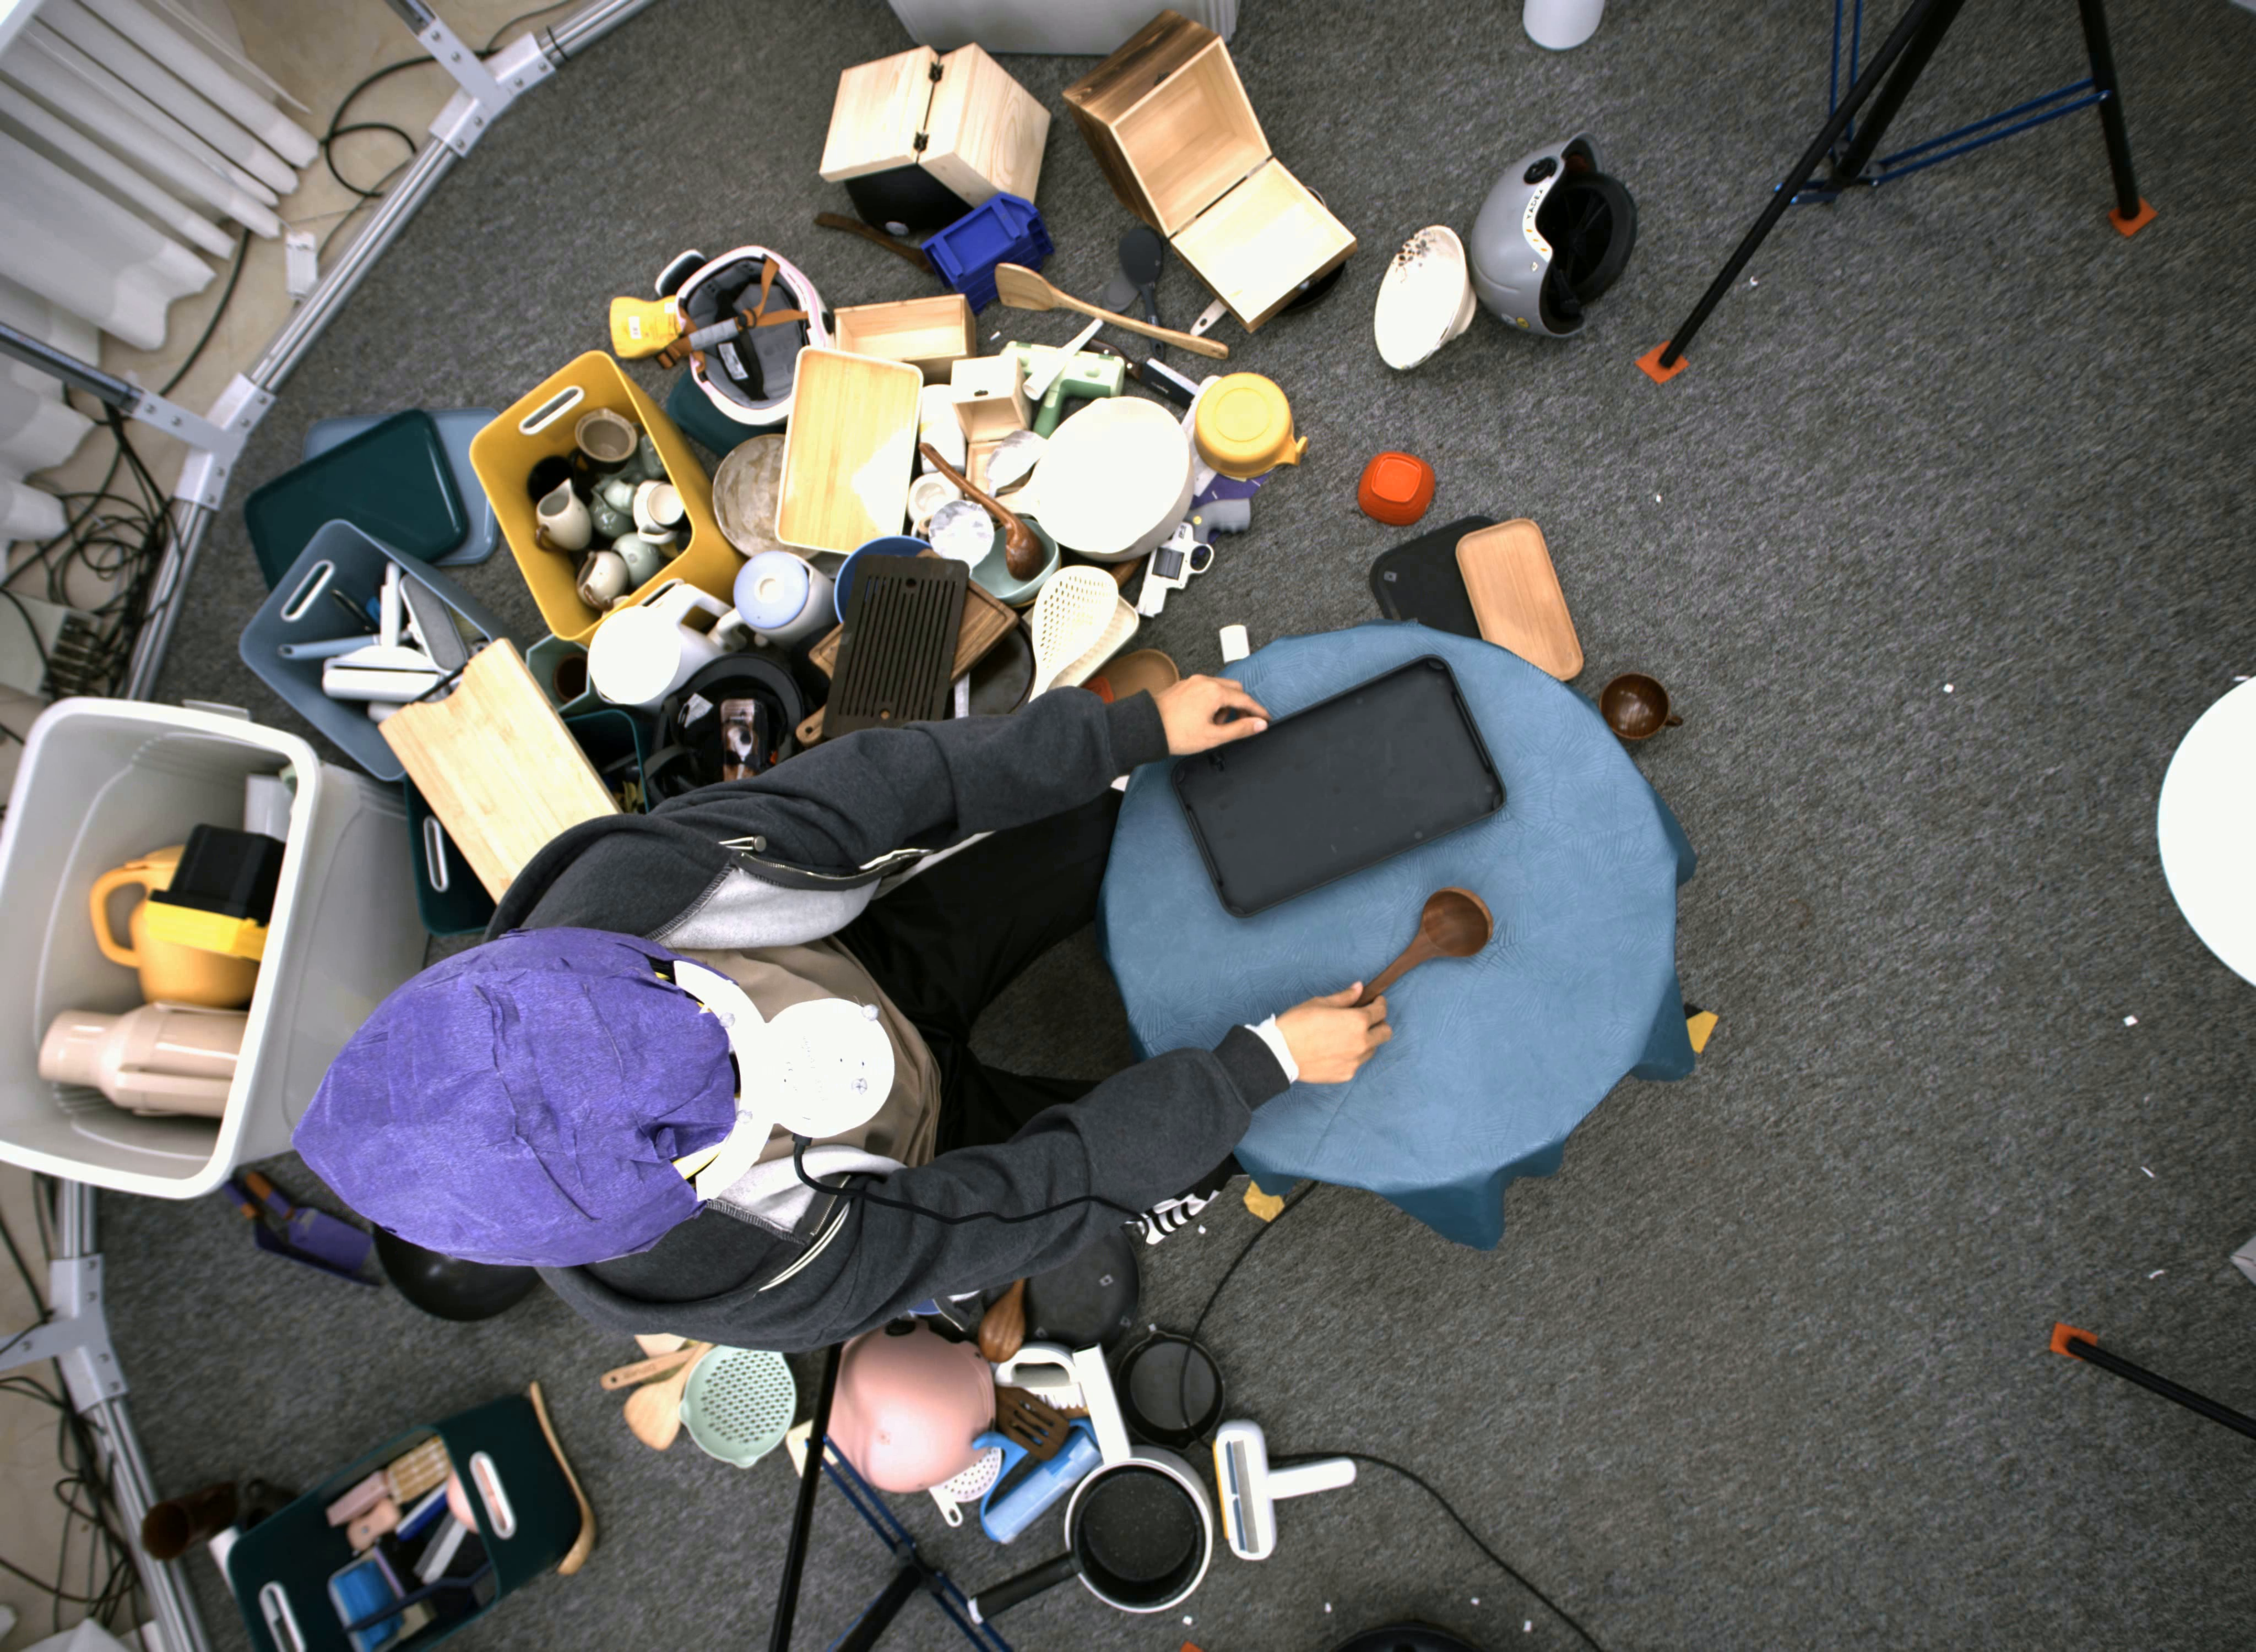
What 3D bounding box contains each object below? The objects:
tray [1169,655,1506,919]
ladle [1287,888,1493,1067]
[{"bbox_3d":[0.218,-0.040,1.454,0.319,0.037,0.183,-23,83,7],"label":"tray"},{"bbox_3d":[0.265,0.160,1.423,0.261,0.065,0.076,-40,80,6],"label":"ladle"}]
